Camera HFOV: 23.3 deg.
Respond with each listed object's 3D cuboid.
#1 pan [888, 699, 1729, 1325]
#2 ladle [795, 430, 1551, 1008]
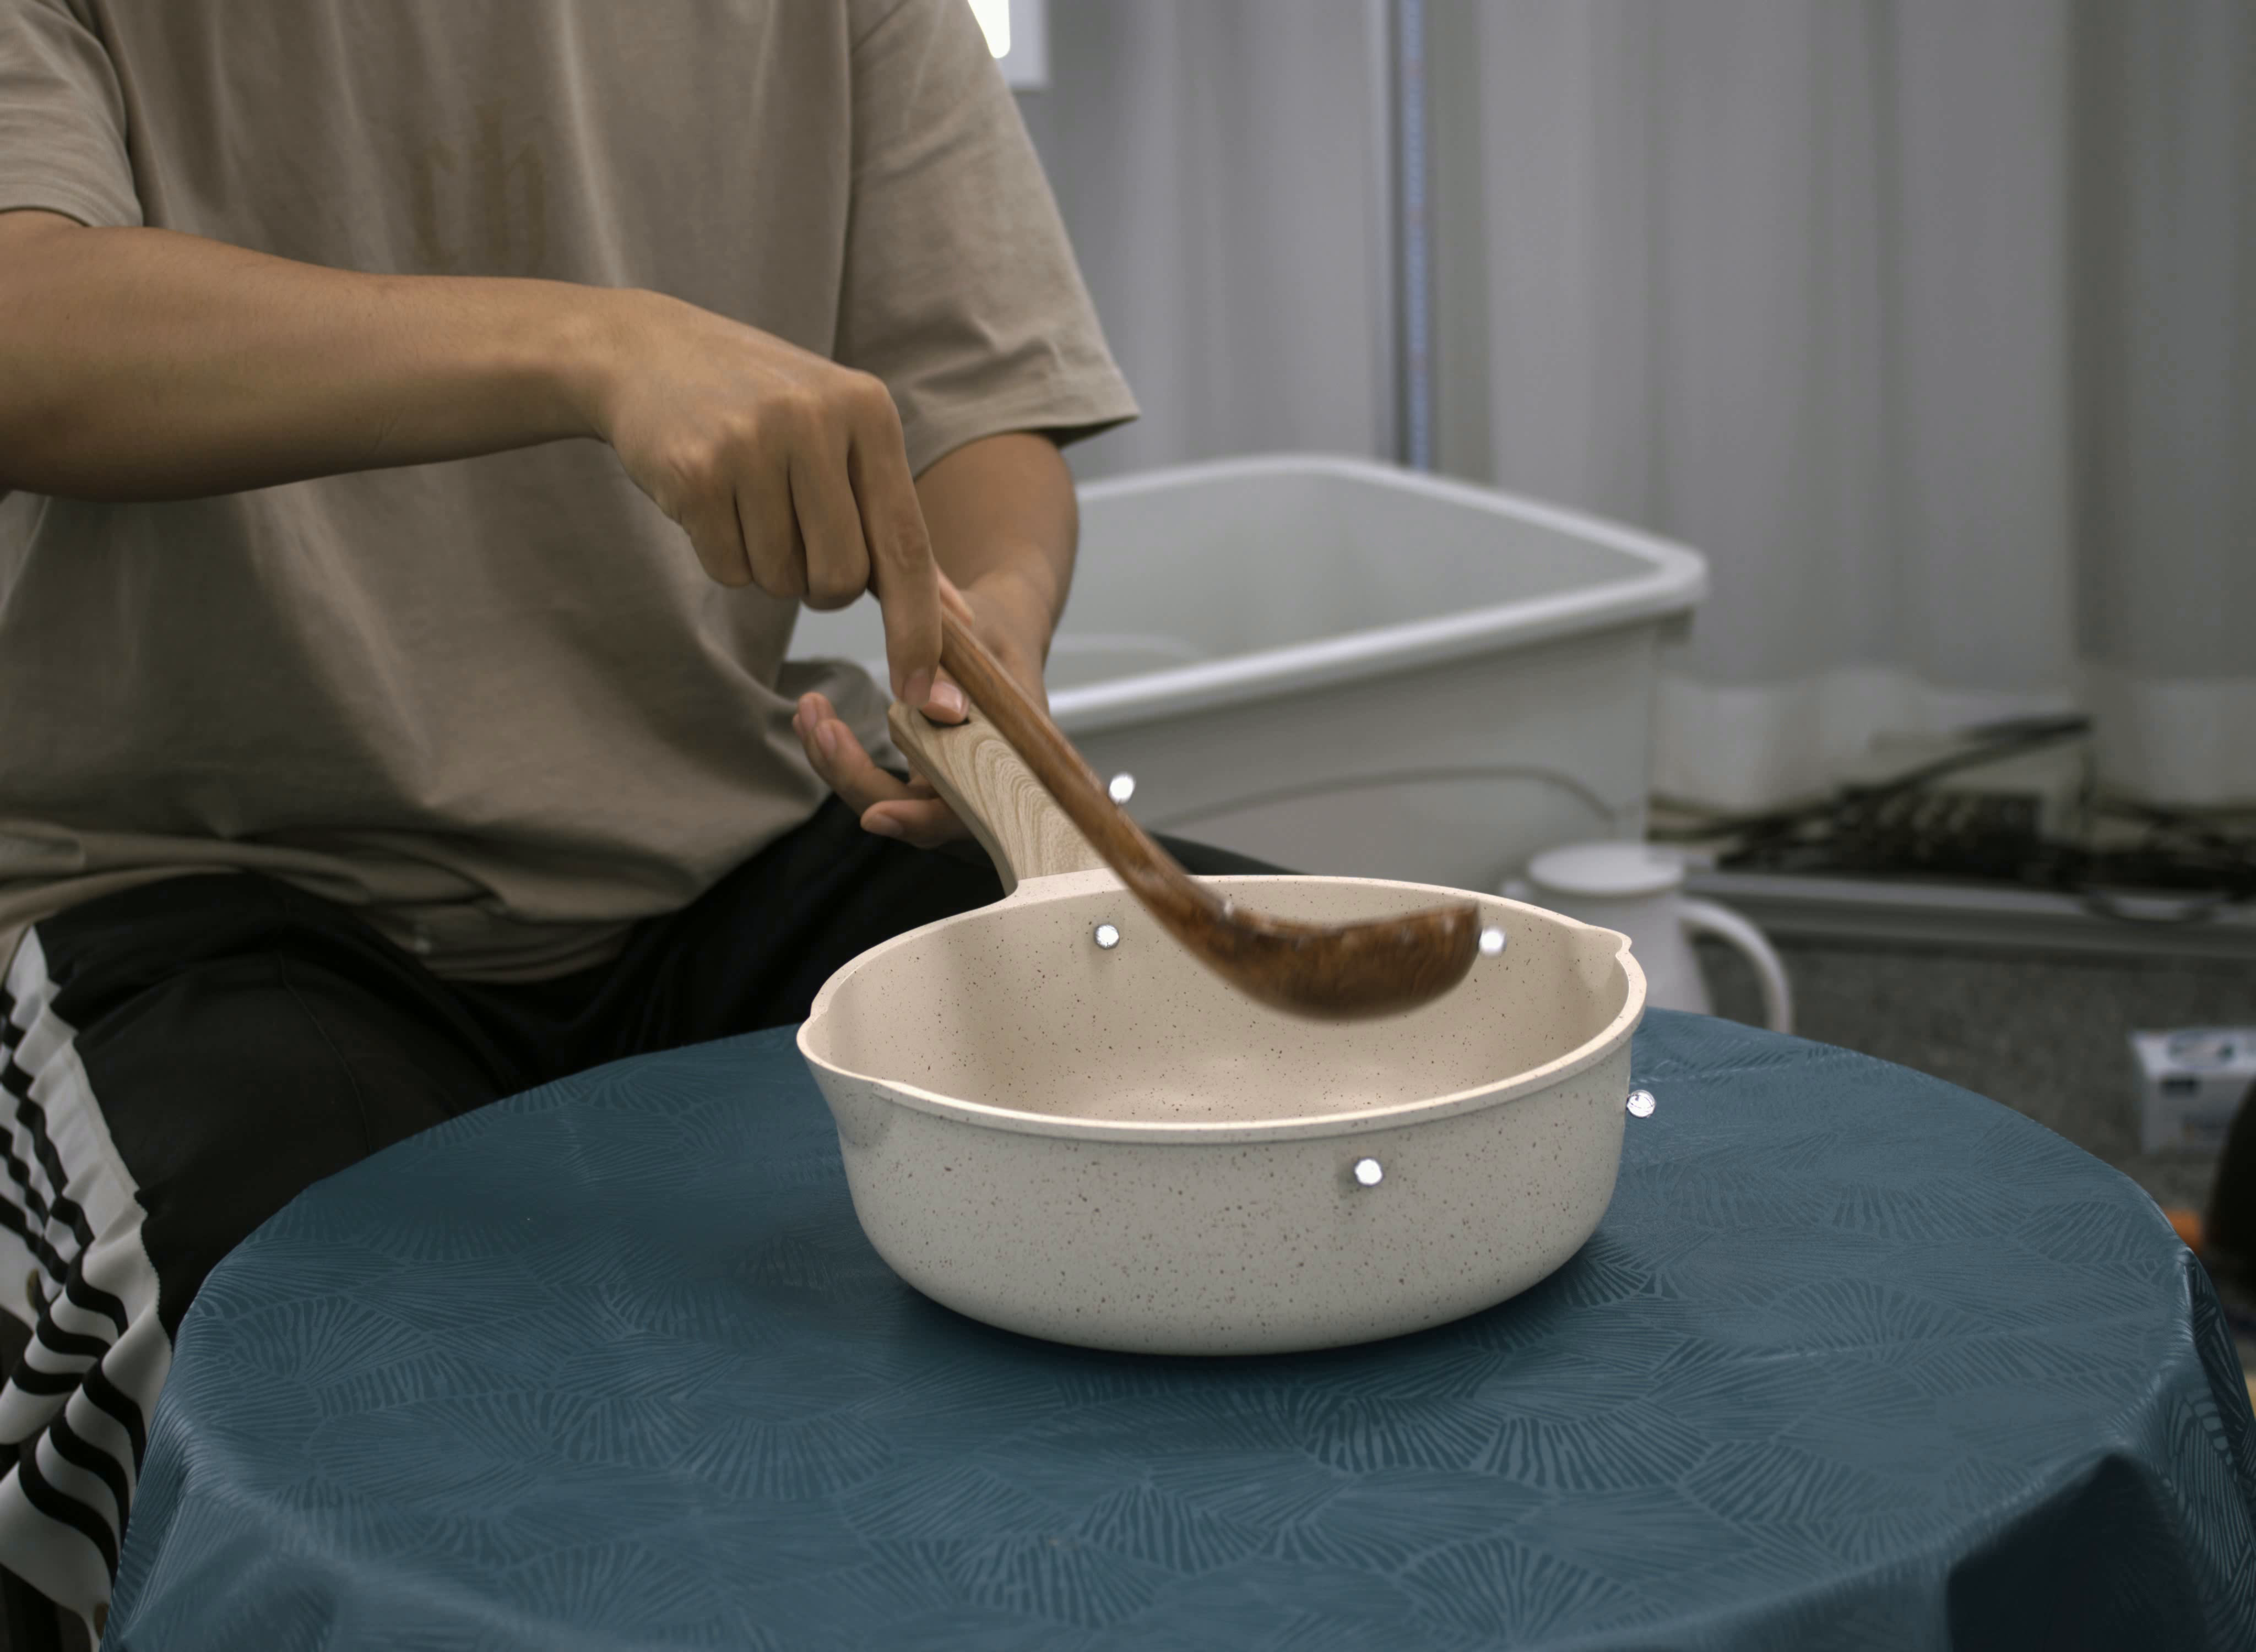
[{"bbox_3d":[0.026,0.052,1.735,0.262,0.101,0.438,-9,16,-18],"label":"pan"},{"bbox_3d":[0.015,-0.044,1.674,0.076,0.275,0.081,-44,-9,2],"label":"ladle"}]
